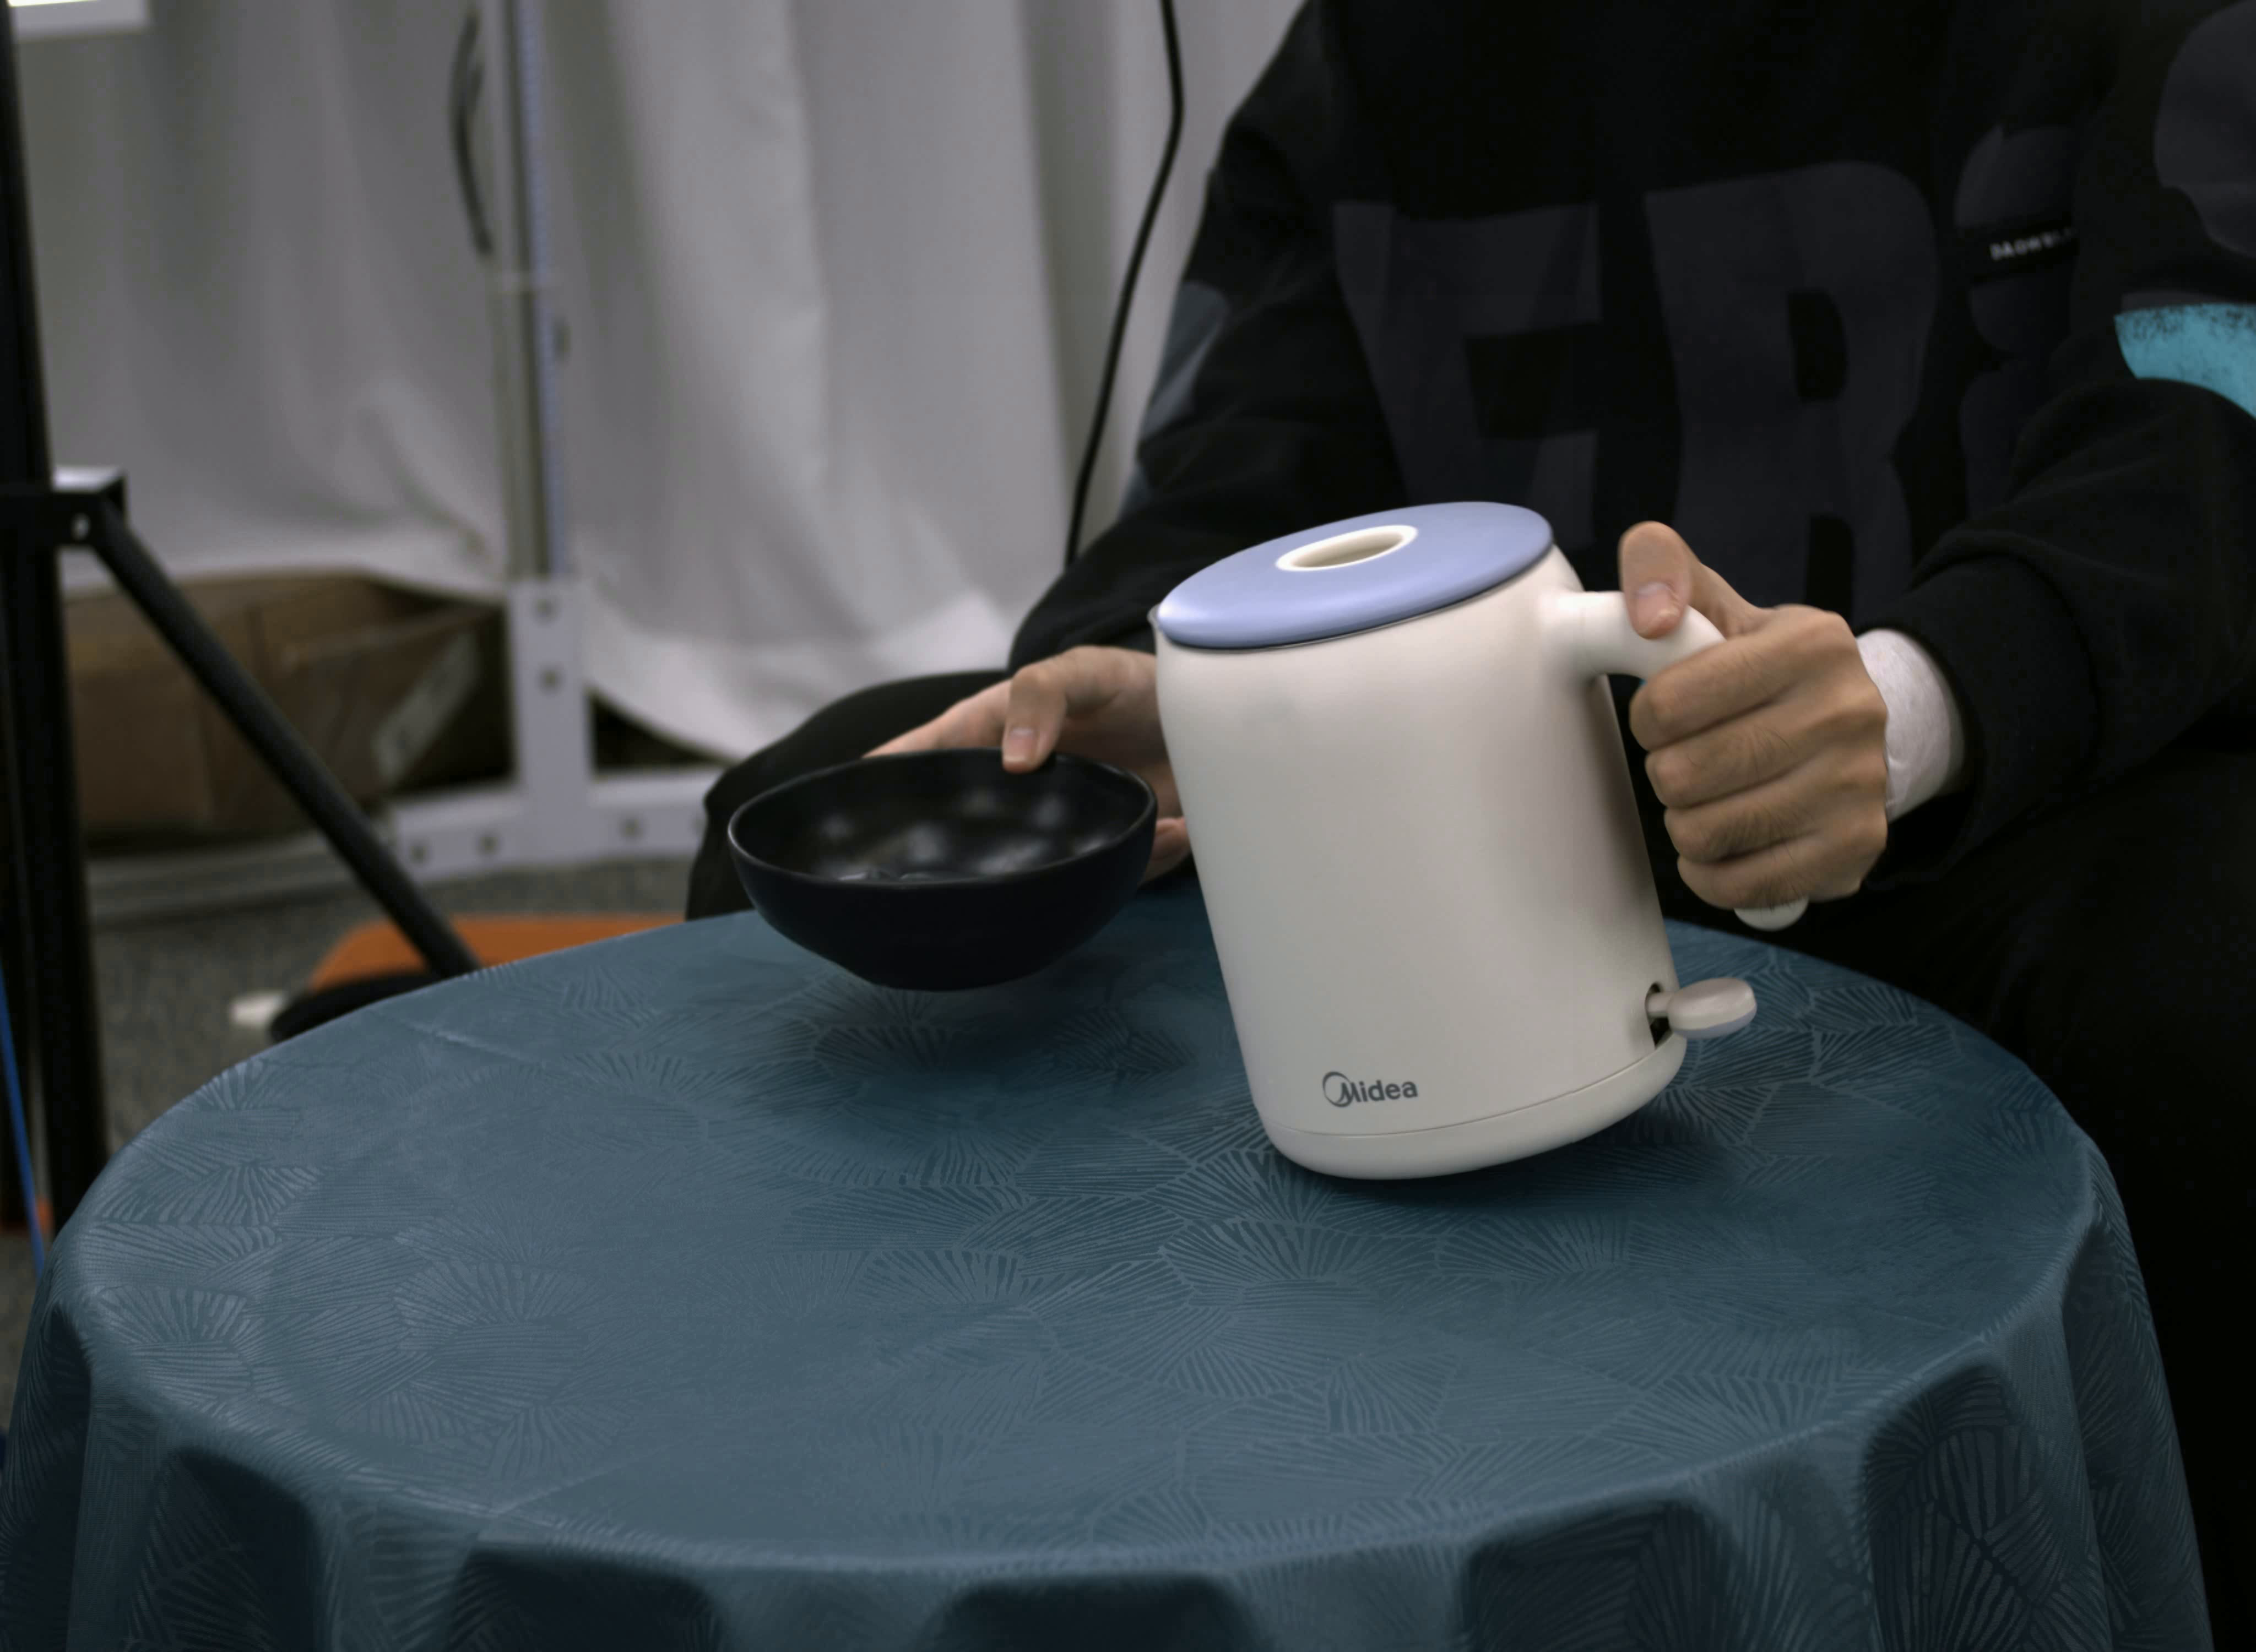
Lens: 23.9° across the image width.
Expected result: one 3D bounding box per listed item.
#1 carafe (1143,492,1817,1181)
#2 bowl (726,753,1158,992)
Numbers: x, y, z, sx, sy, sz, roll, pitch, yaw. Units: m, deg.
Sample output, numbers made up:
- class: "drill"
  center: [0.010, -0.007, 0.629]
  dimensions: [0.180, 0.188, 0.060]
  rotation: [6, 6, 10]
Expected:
- class: "carafe"
  center: [0.106, 0.001, 1.552]
  dimensions: [0.194, 0.182, 0.130]
  rotation: [-4, 18, 29]
- class: "bowl"
  center: [-0.058, 0.019, 1.706]
  dimensions: [0.139, 0.050, 0.141]
  rotation: [-3, 17, 0]
